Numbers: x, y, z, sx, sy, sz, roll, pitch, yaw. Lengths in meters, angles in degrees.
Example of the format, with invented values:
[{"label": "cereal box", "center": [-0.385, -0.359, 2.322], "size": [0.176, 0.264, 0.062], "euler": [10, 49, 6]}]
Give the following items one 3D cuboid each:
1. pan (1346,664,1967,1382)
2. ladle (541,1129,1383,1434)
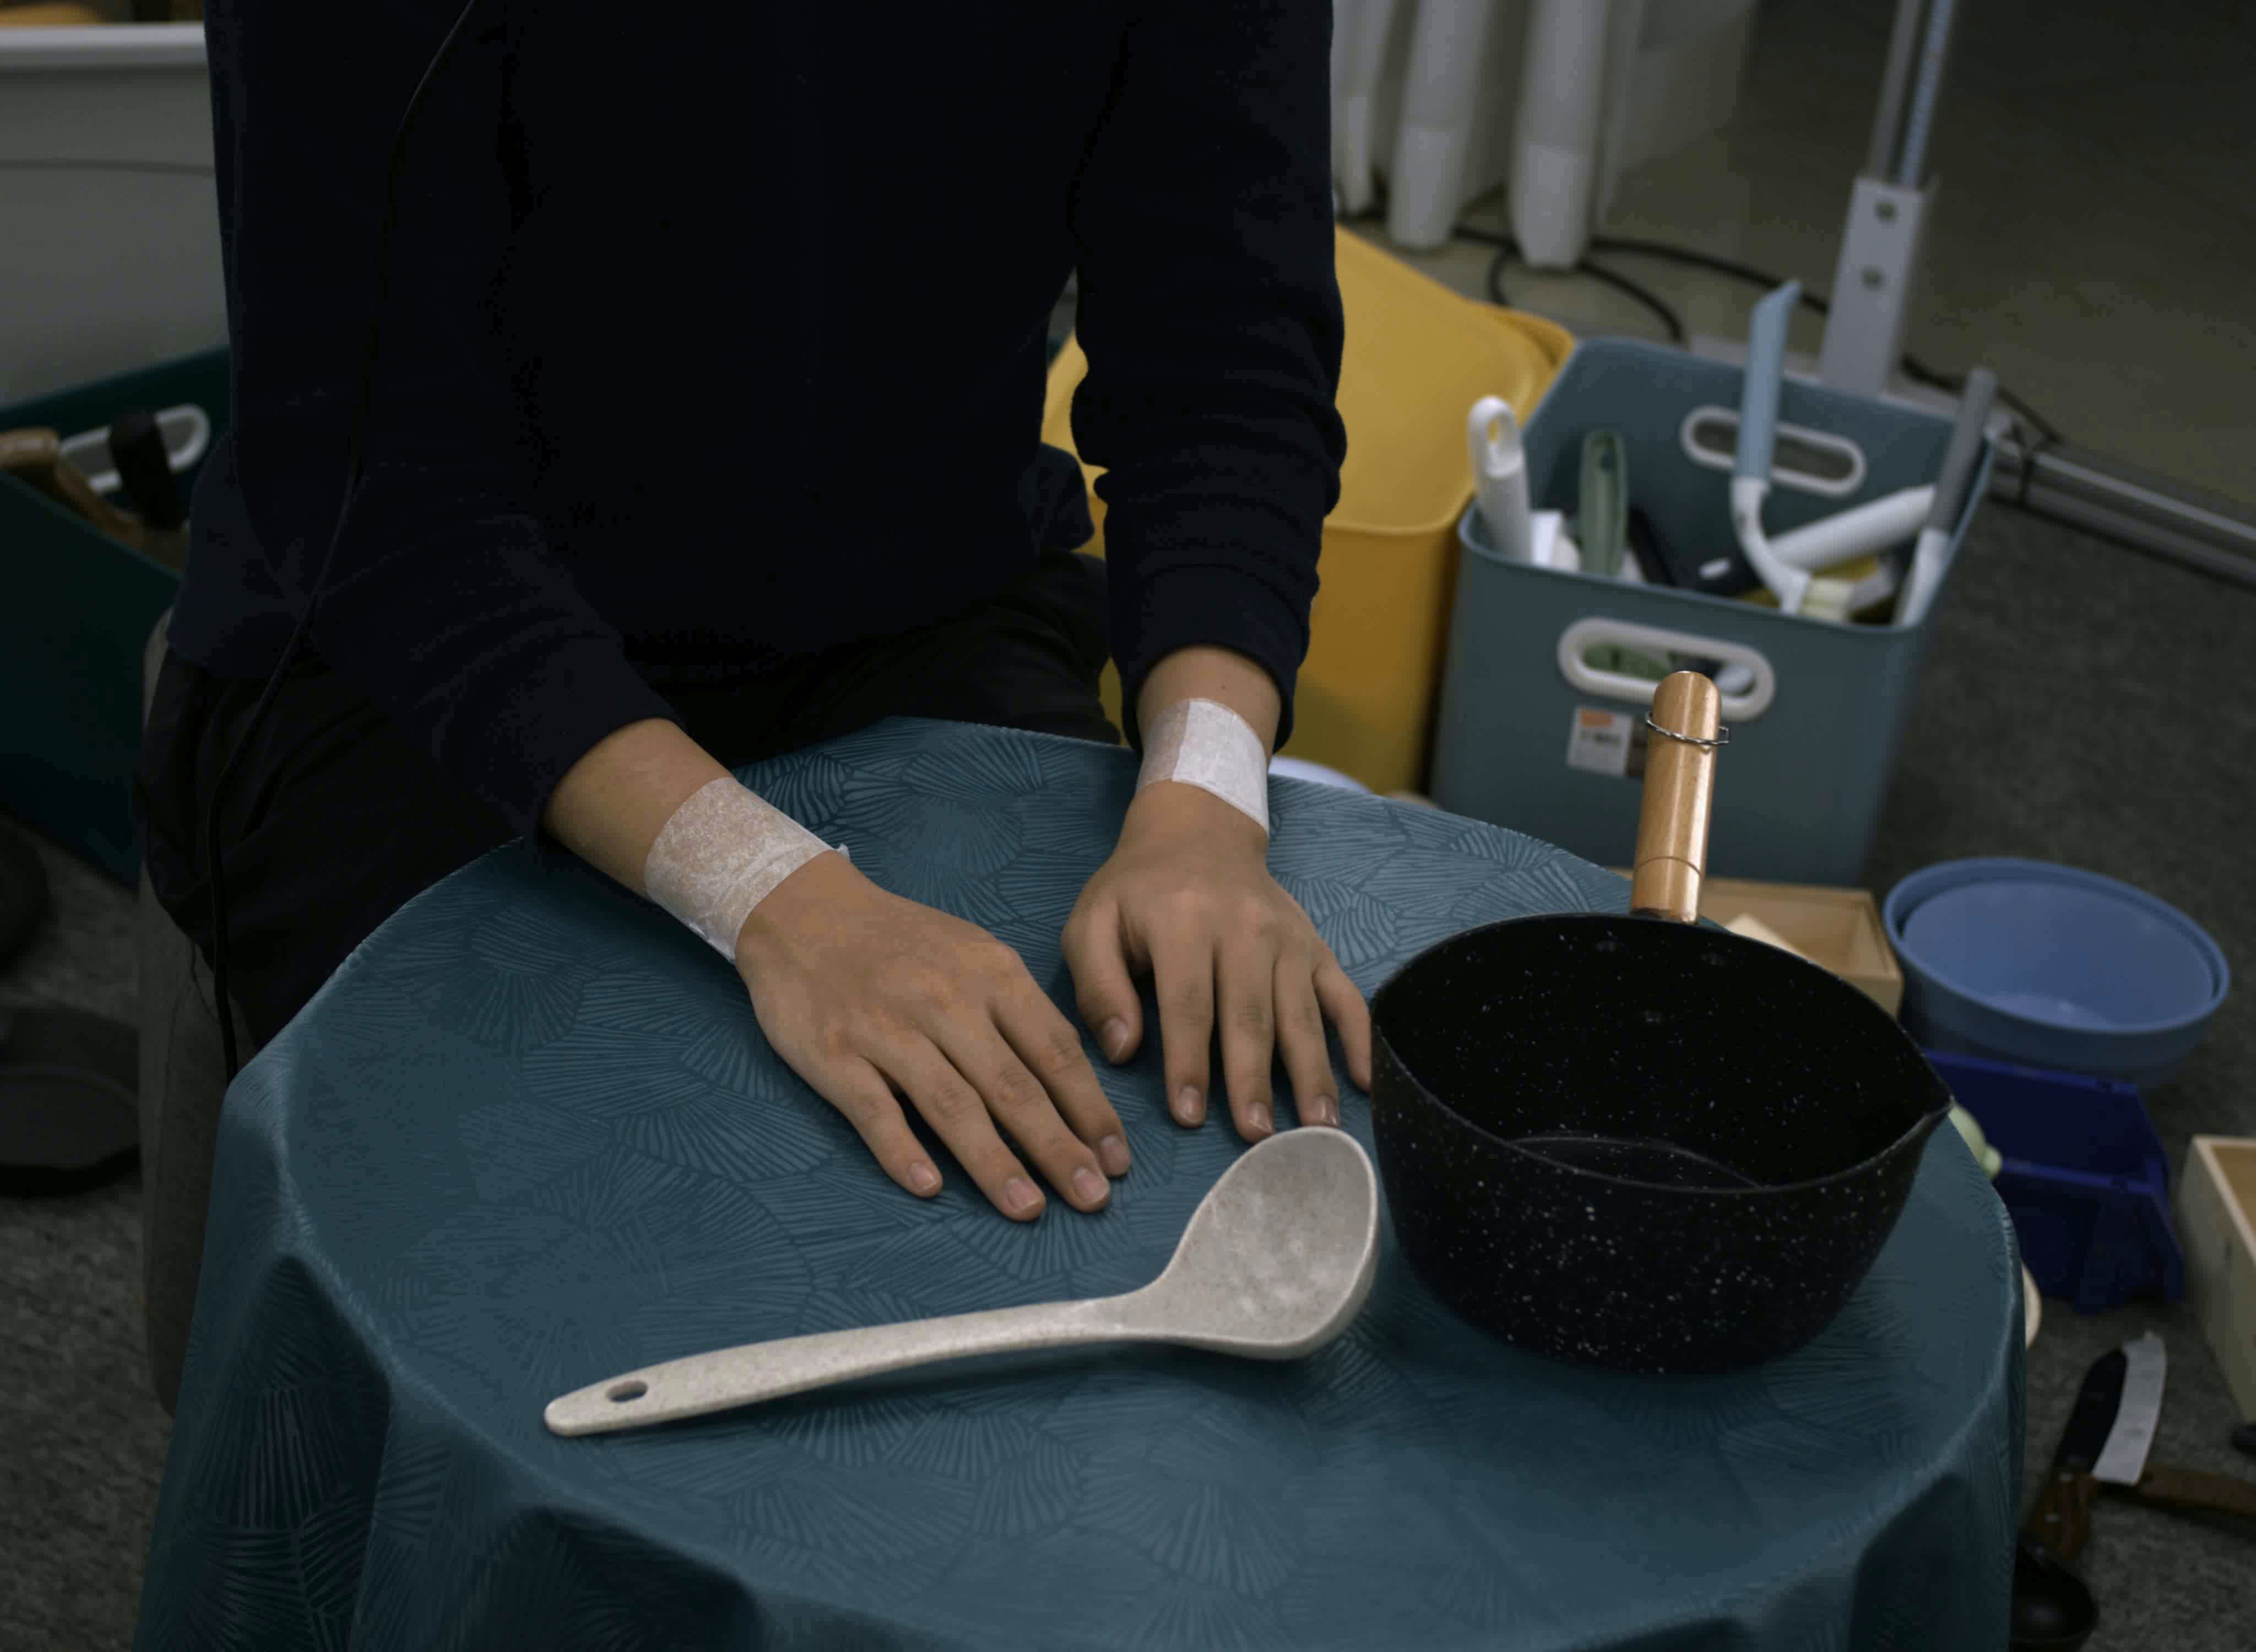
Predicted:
[{"label": "pan", "center": [0.180, 0.063, 1.842], "size": [0.207, 0.108, 0.344], "euler": [7, 28, 4]}, {"label": "ladle", "center": [-0.050, 0.145, 1.675], "size": [0.273, 0.069, 0.090], "euler": [-5, 33, -22]}]
